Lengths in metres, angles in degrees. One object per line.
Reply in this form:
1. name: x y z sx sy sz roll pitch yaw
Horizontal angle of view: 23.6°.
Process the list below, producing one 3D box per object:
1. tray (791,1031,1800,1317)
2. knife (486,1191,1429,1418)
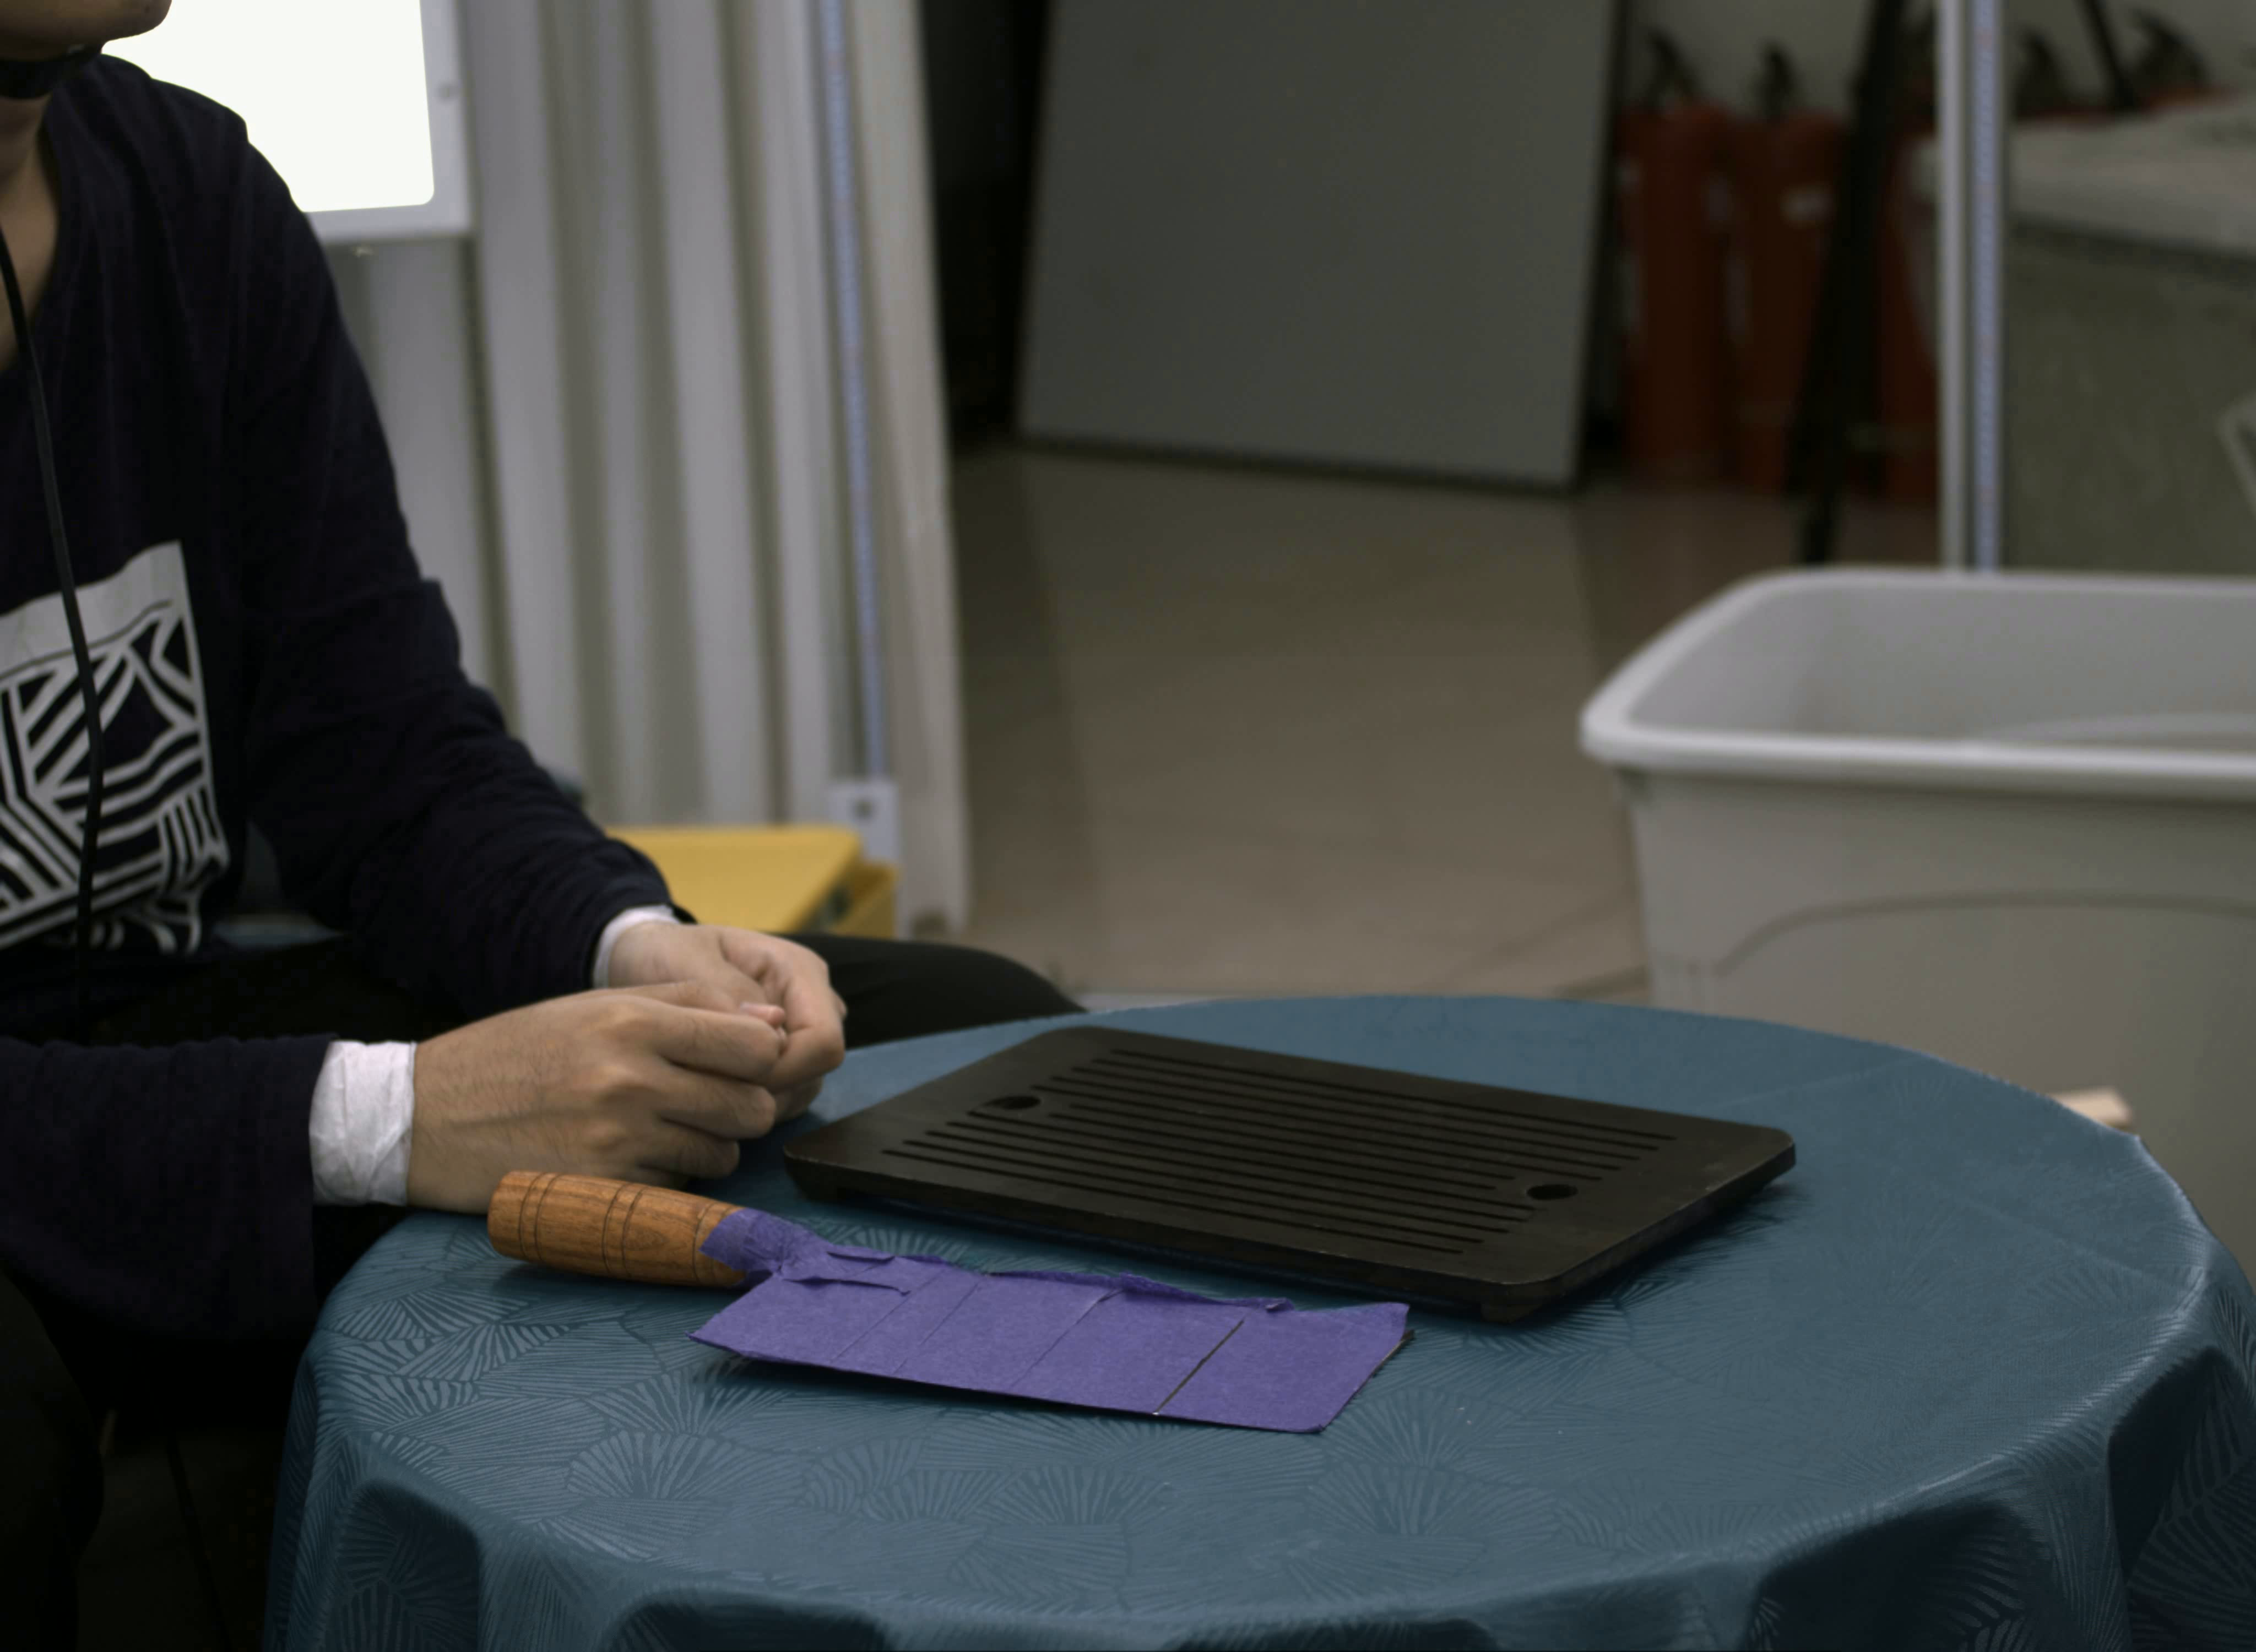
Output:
1. tray: 0.053 0.111 1.763 0.308 0.019 0.167 6 17 38
2. knife: -0.068 0.145 1.641 0.315 0.032 0.102 3 14 24
